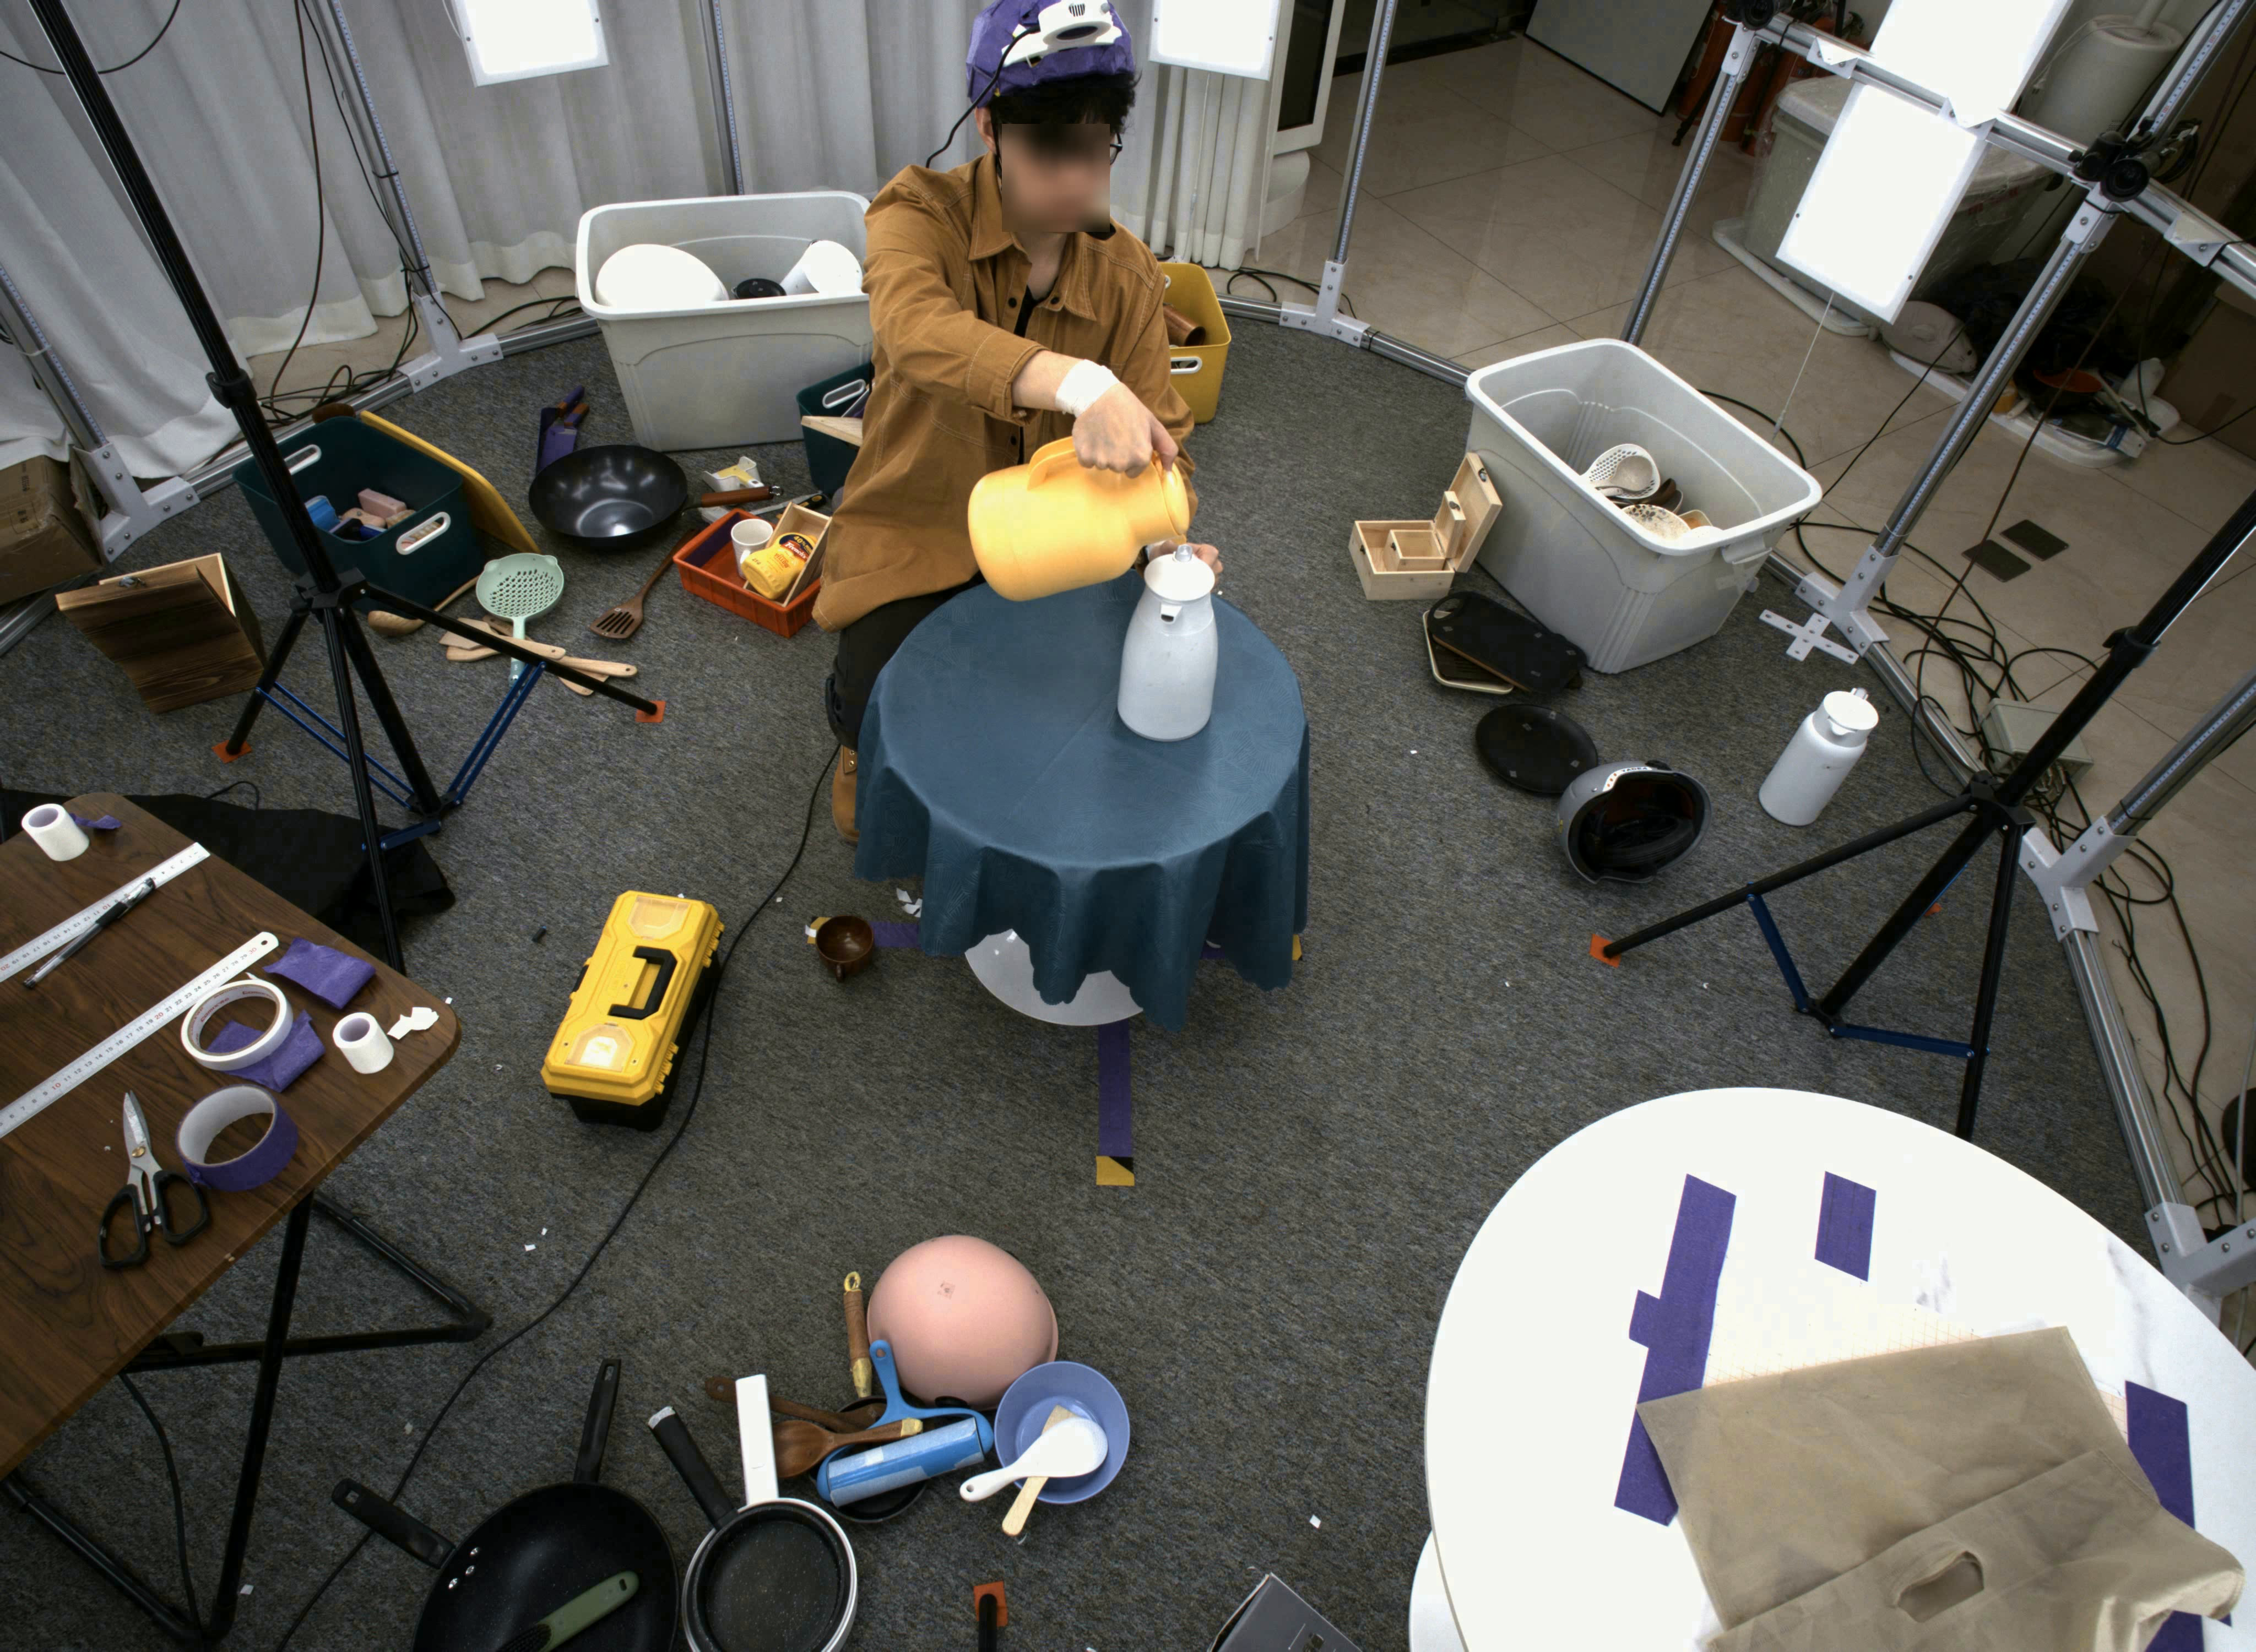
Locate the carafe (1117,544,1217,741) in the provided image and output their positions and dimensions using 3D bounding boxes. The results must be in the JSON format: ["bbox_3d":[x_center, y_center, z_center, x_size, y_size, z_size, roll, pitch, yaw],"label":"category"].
[{"bbox_3d":[0.061,-0.260,1.738,0.133,0.242,0.171,12,49,6],"label":"carafe"}]

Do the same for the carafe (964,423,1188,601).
[{"bbox_3d":[-0.064,-0.387,1.556,0.260,0.198,0.167,-12,54,14],"label":"carafe"}]
